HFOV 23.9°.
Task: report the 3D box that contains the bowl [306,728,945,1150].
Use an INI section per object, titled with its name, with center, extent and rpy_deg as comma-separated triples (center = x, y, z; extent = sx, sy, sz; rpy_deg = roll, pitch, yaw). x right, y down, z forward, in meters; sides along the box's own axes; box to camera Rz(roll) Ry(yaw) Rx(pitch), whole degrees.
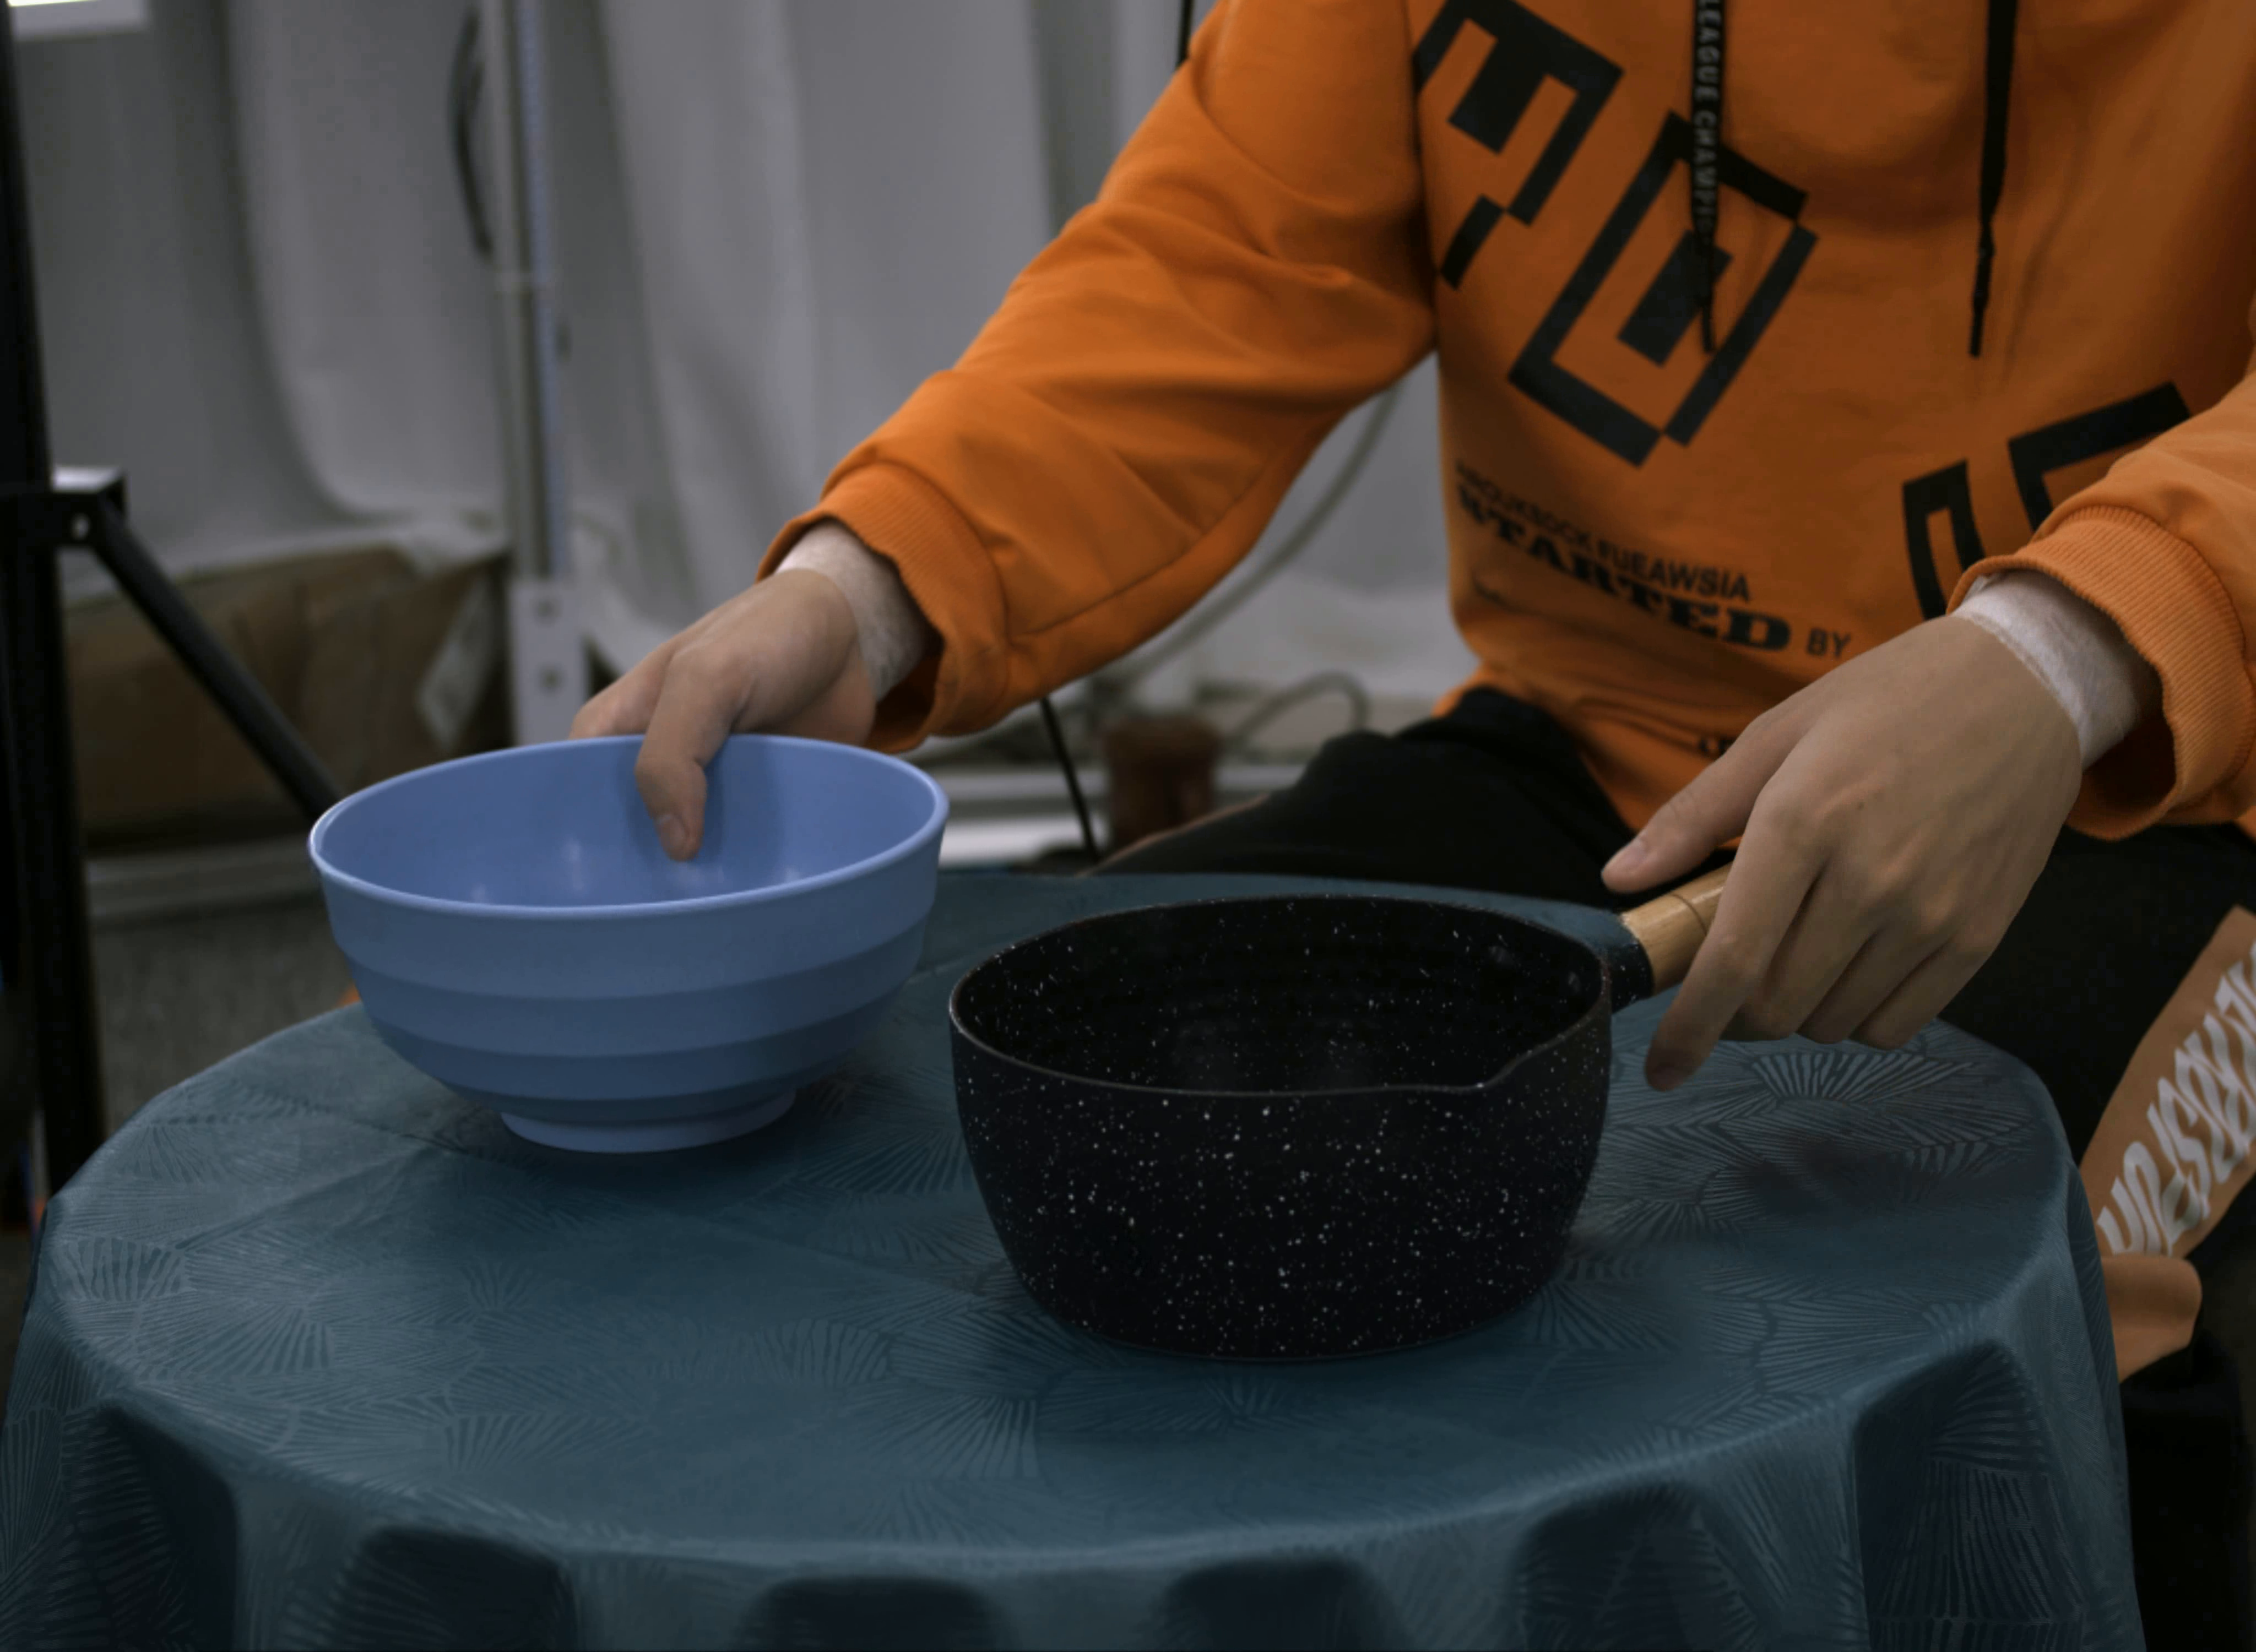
[bowl]
center = -0.151, 0.040, 1.645
extent = 0.195, 0.095, 0.197
rpy_deg = -4, 16, 0

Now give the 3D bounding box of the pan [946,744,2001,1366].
[pan]
center = 0.110, 0.060, 1.511
extent = 0.335, 0.108, 0.212
rpy_deg = -13, 17, -28
